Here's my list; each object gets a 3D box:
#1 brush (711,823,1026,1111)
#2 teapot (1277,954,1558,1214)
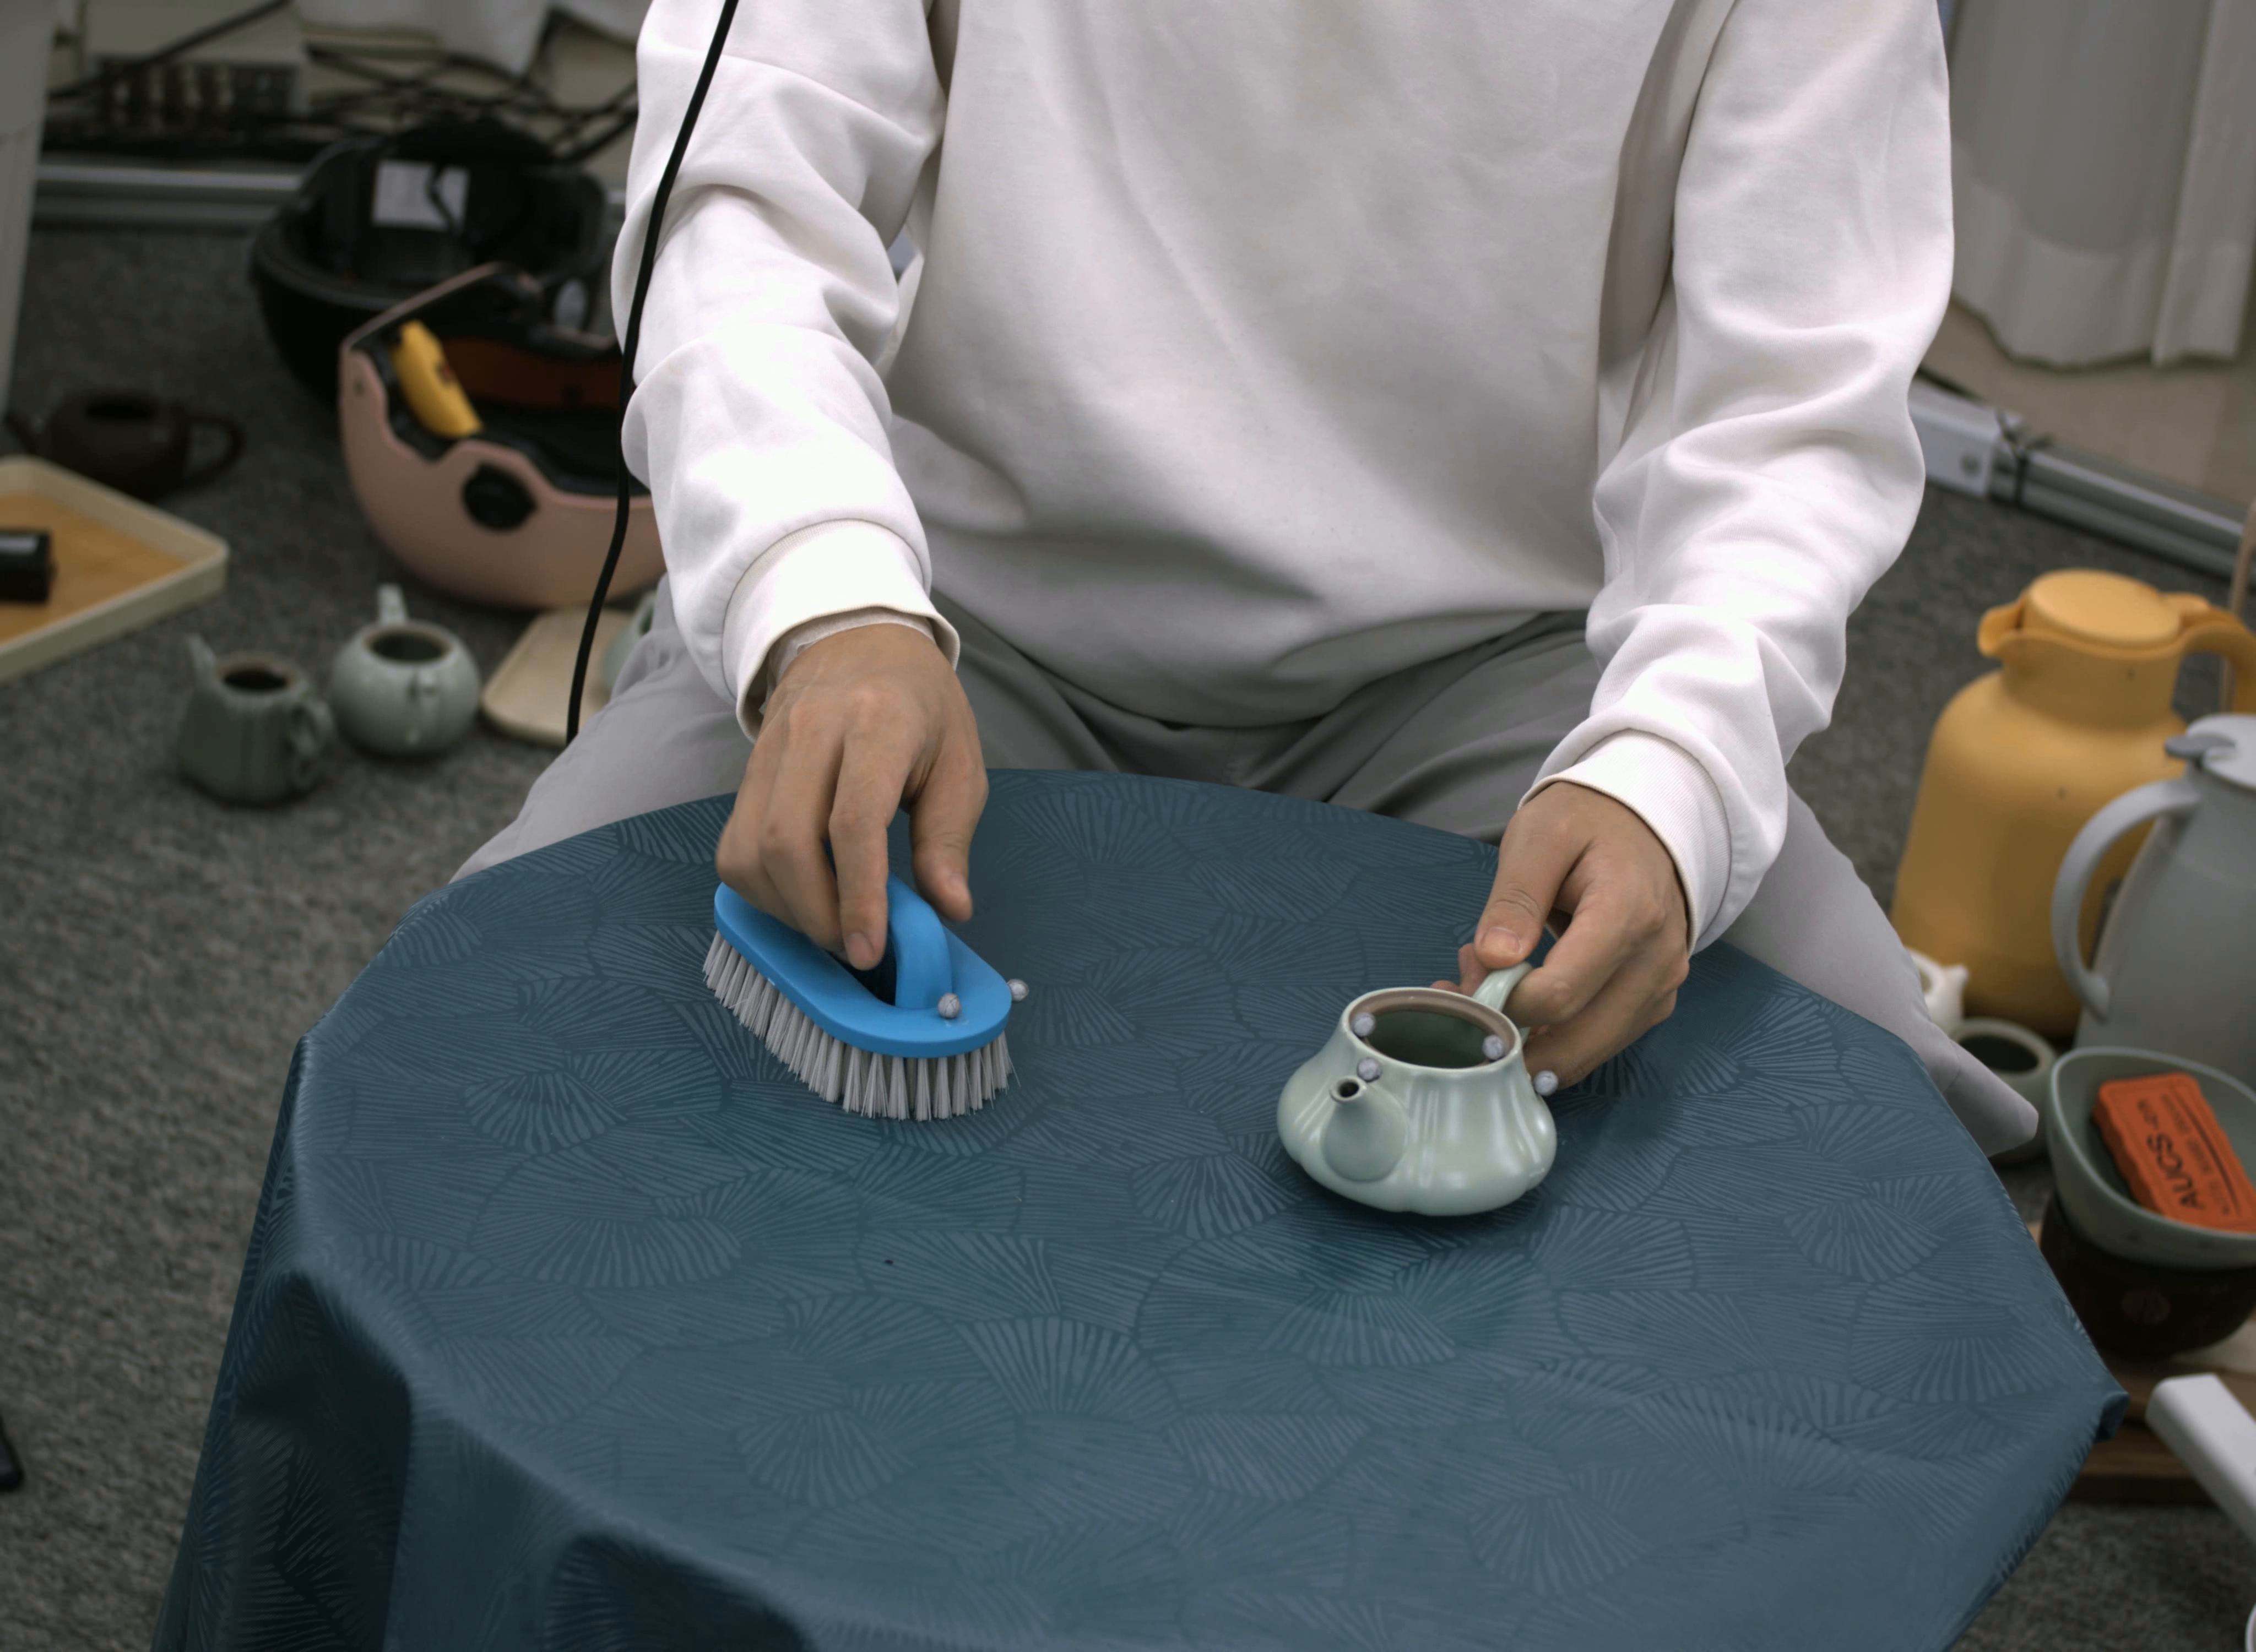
[{"bbox_3d":[-0.093,0.041,1.875,0.084,0.063,0.143,-14,32,-27],"label":"brush"},{"bbox_3d":[0.103,0.091,1.829,0.096,0.061,0.136,17,29,25],"label":"teapot"}]
